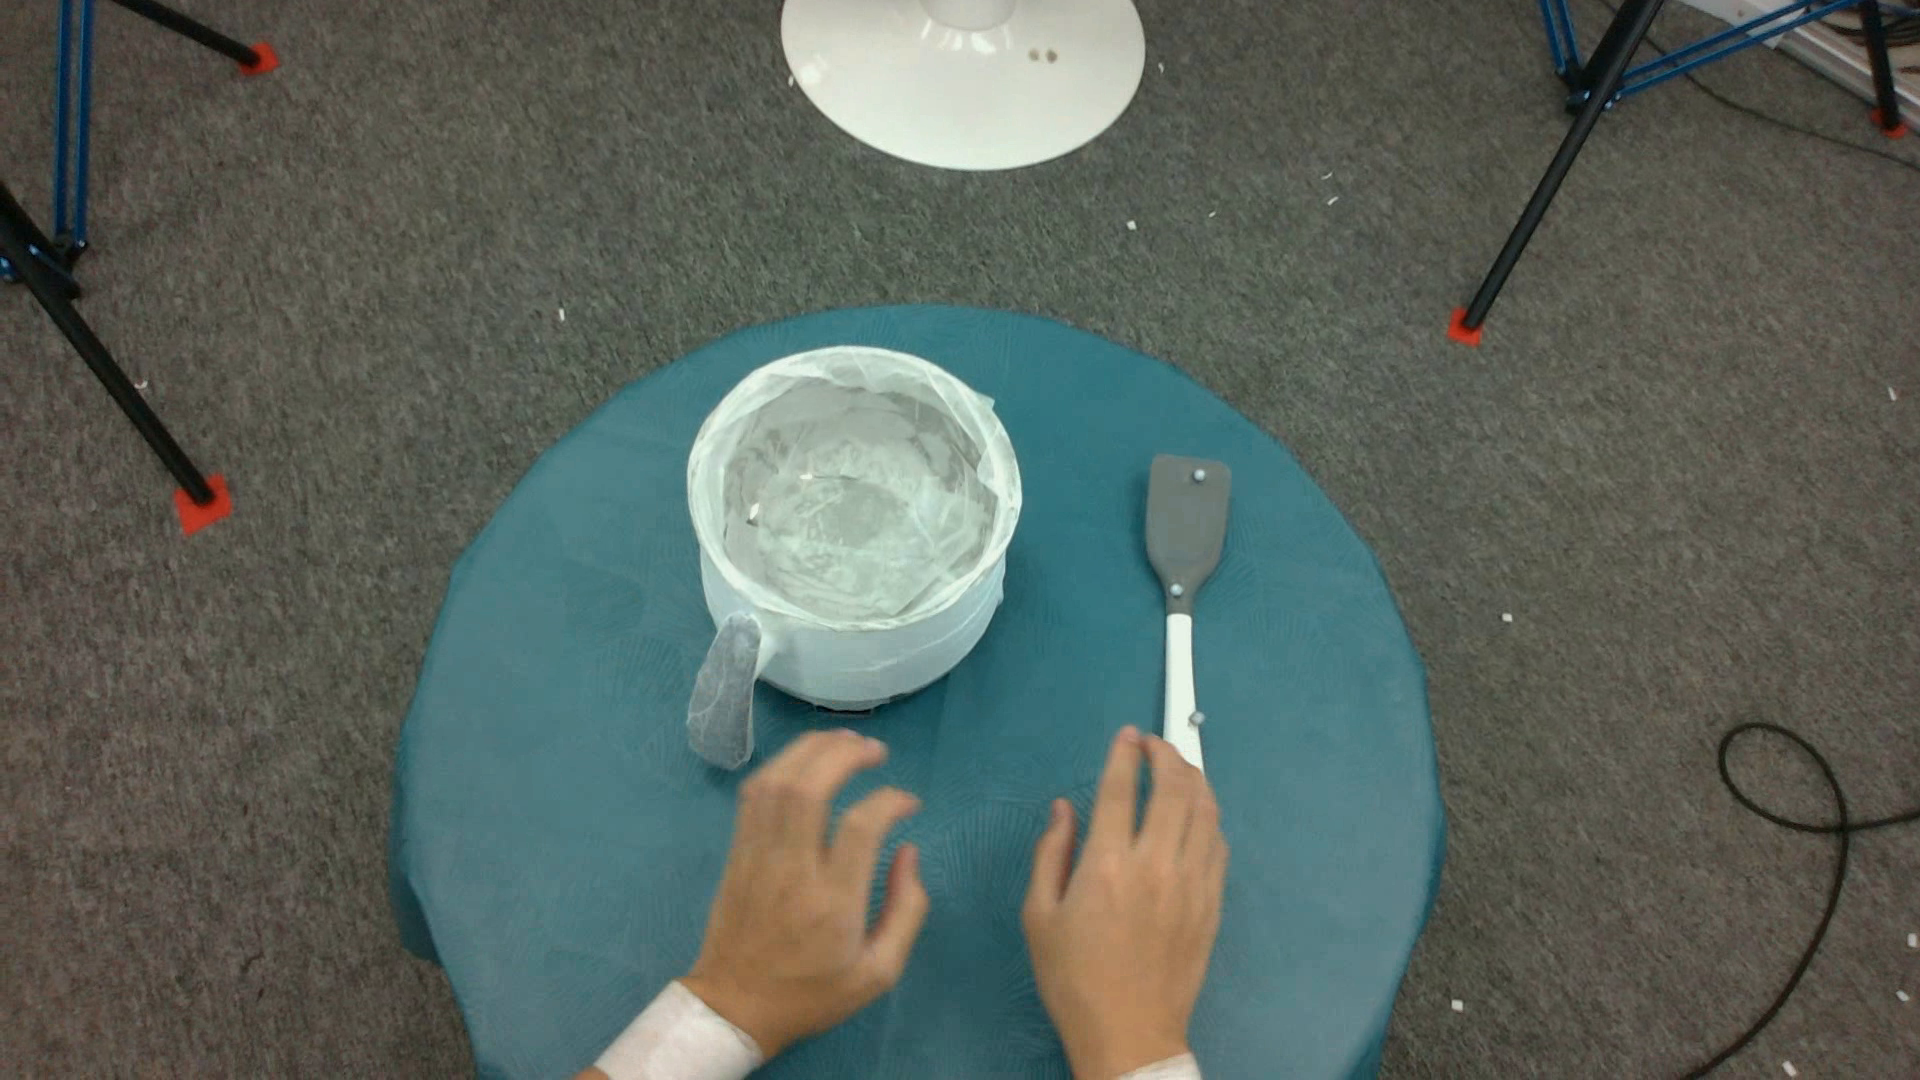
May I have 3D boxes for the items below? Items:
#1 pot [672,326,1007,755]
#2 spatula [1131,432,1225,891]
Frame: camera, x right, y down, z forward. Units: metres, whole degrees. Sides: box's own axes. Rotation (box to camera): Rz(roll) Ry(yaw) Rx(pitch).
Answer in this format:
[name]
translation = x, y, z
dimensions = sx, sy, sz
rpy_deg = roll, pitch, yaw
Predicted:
[pot]
translation = -0.081, 0.009, 0.772
dimensions = 0.179, 0.136, 0.235
rpy_deg = 29, 63, 10
[spatula]
translation = 0.128, 0.063, 0.823
dimensions = 0.058, 0.032, 0.289
rpy_deg = 6, 62, 1
